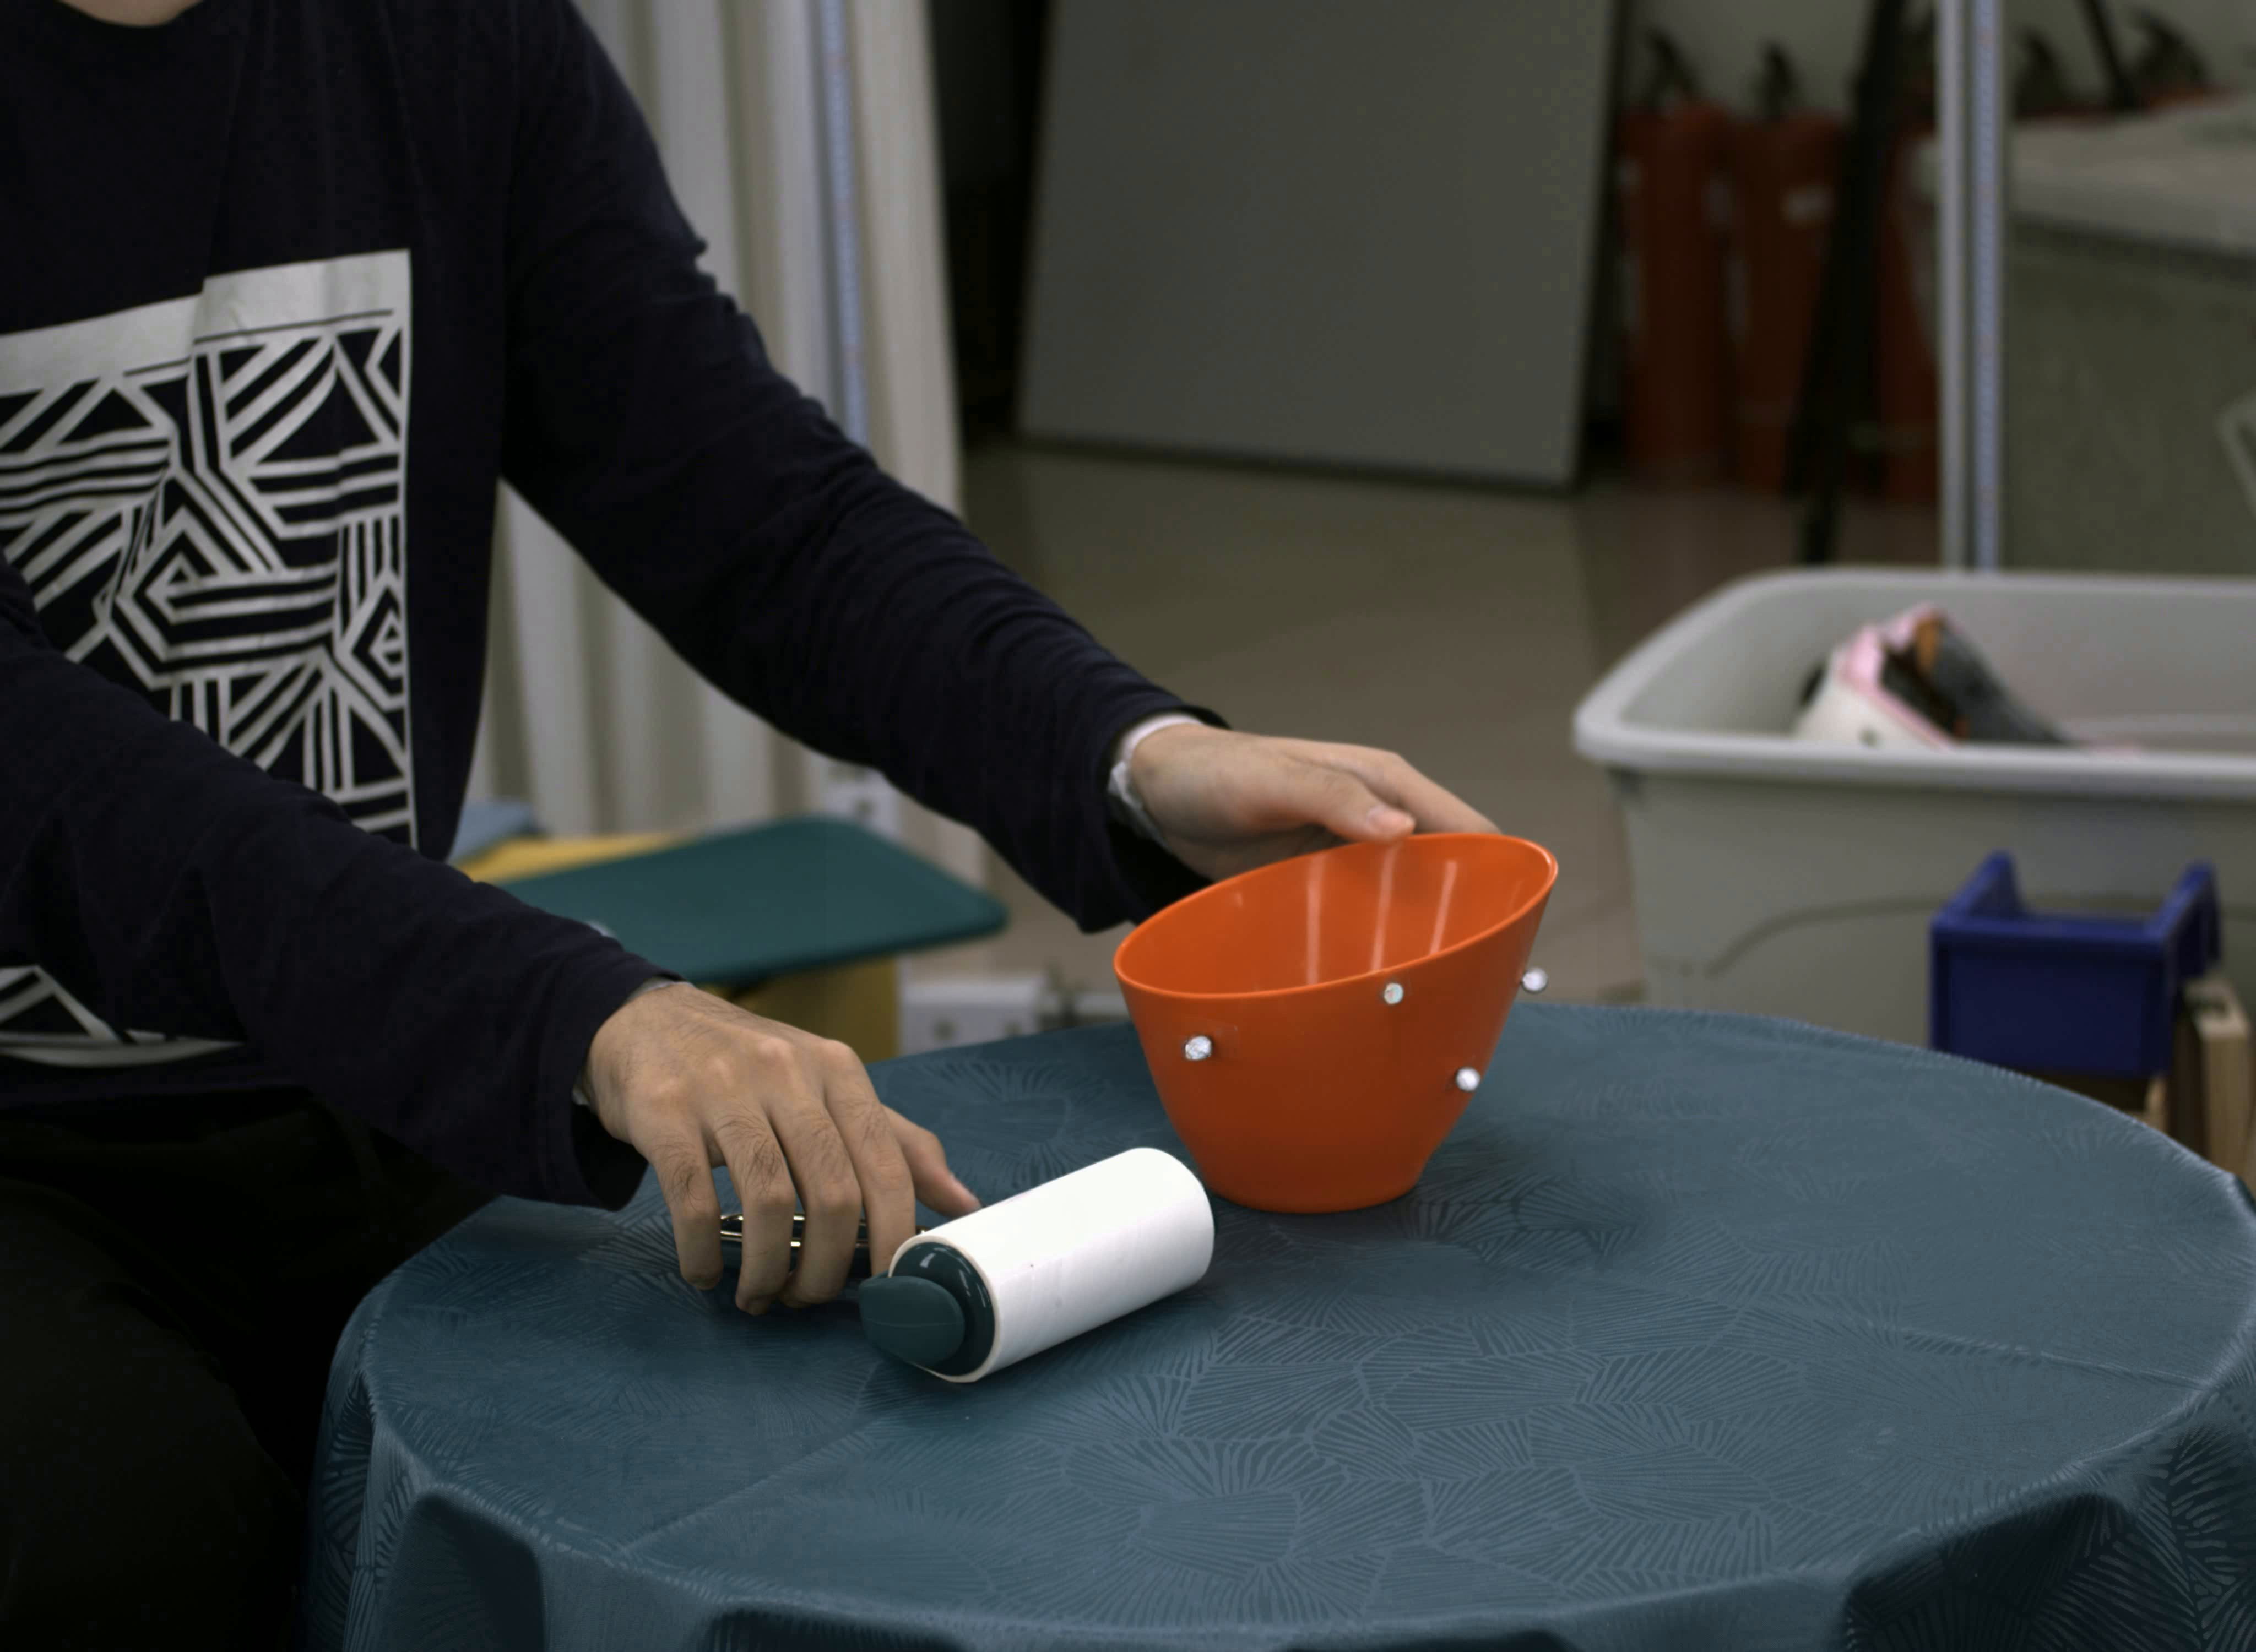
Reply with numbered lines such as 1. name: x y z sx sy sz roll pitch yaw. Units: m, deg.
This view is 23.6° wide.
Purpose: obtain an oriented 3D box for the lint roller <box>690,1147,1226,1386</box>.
1. lint roller: -0.073 0.129 1.678 0.181 0.049 0.132 4 16 42

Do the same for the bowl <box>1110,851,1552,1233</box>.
1. bowl: 0.069 0.072 1.759 0.146 0.106 0.148 -5 11 0
